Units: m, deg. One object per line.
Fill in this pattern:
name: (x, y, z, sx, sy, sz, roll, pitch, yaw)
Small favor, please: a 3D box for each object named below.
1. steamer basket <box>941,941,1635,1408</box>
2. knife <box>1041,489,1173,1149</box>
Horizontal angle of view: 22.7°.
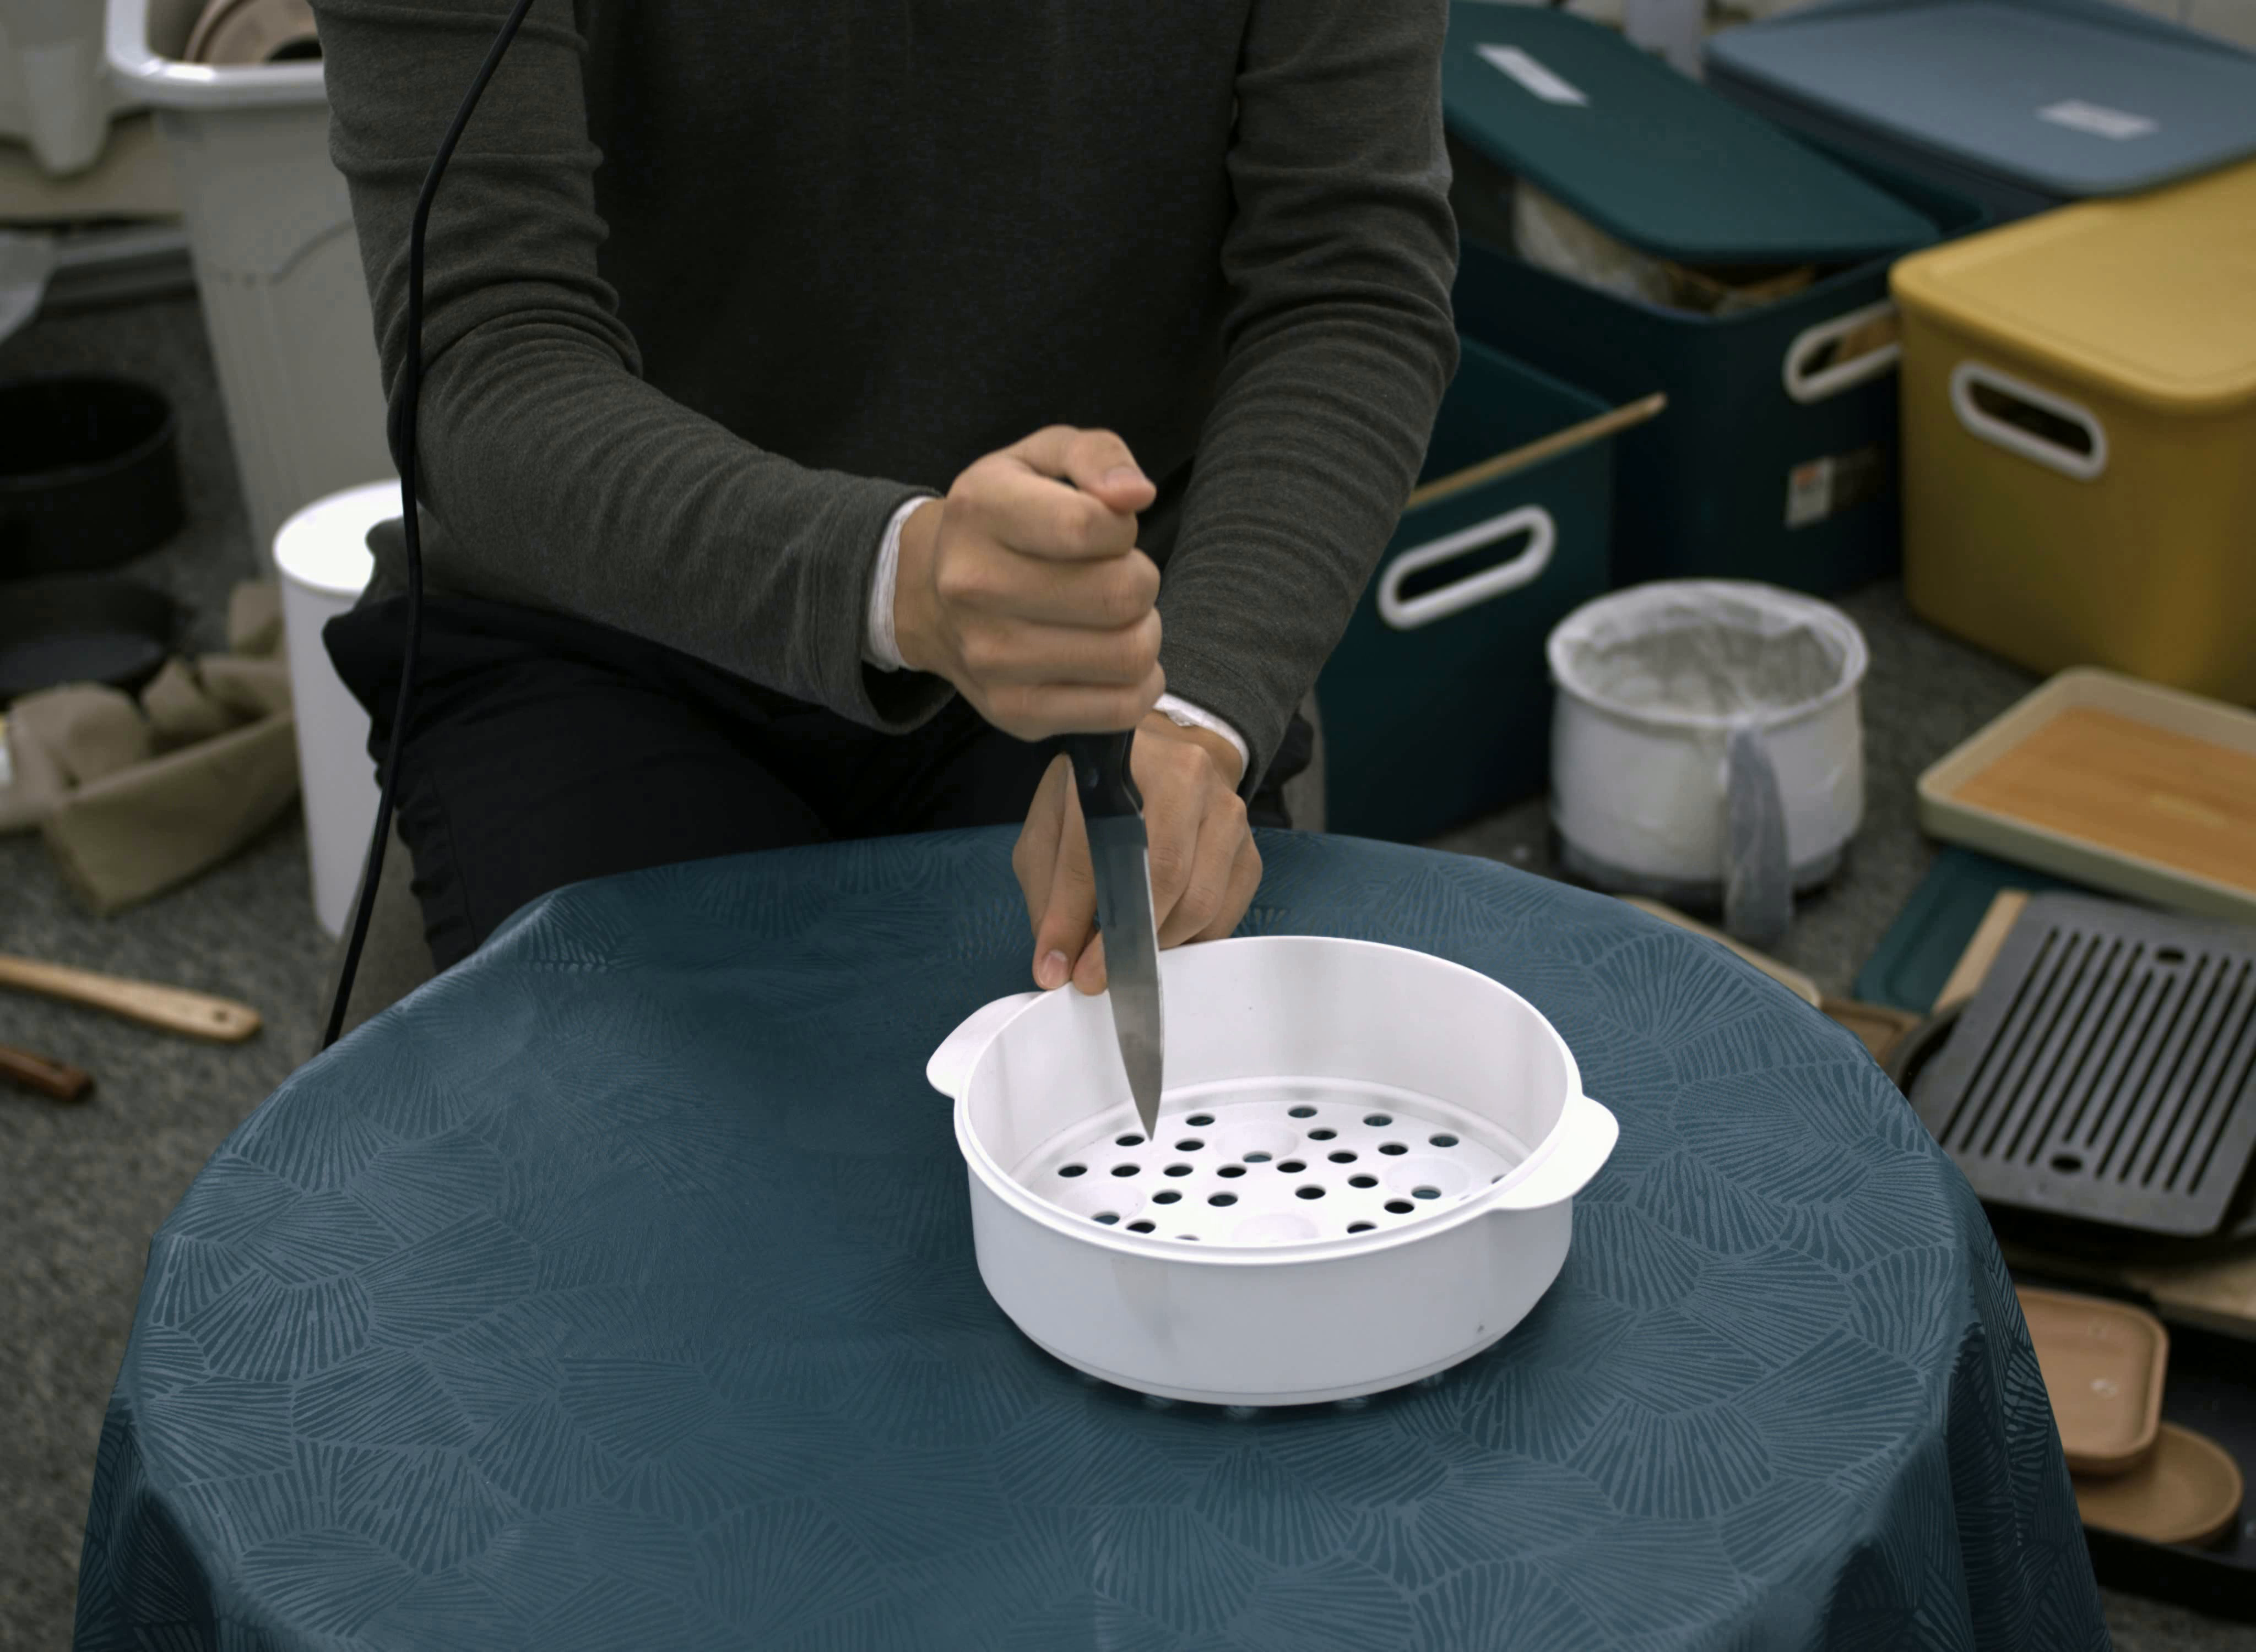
steamer basket: (0.050, 0.112, 1.803, 0.229, 0.068, 0.205, 10, 29, 25)
knife: (-0.005, 0.001, 1.773, 0.024, 0.235, 0.016, 15, 35, 37)
